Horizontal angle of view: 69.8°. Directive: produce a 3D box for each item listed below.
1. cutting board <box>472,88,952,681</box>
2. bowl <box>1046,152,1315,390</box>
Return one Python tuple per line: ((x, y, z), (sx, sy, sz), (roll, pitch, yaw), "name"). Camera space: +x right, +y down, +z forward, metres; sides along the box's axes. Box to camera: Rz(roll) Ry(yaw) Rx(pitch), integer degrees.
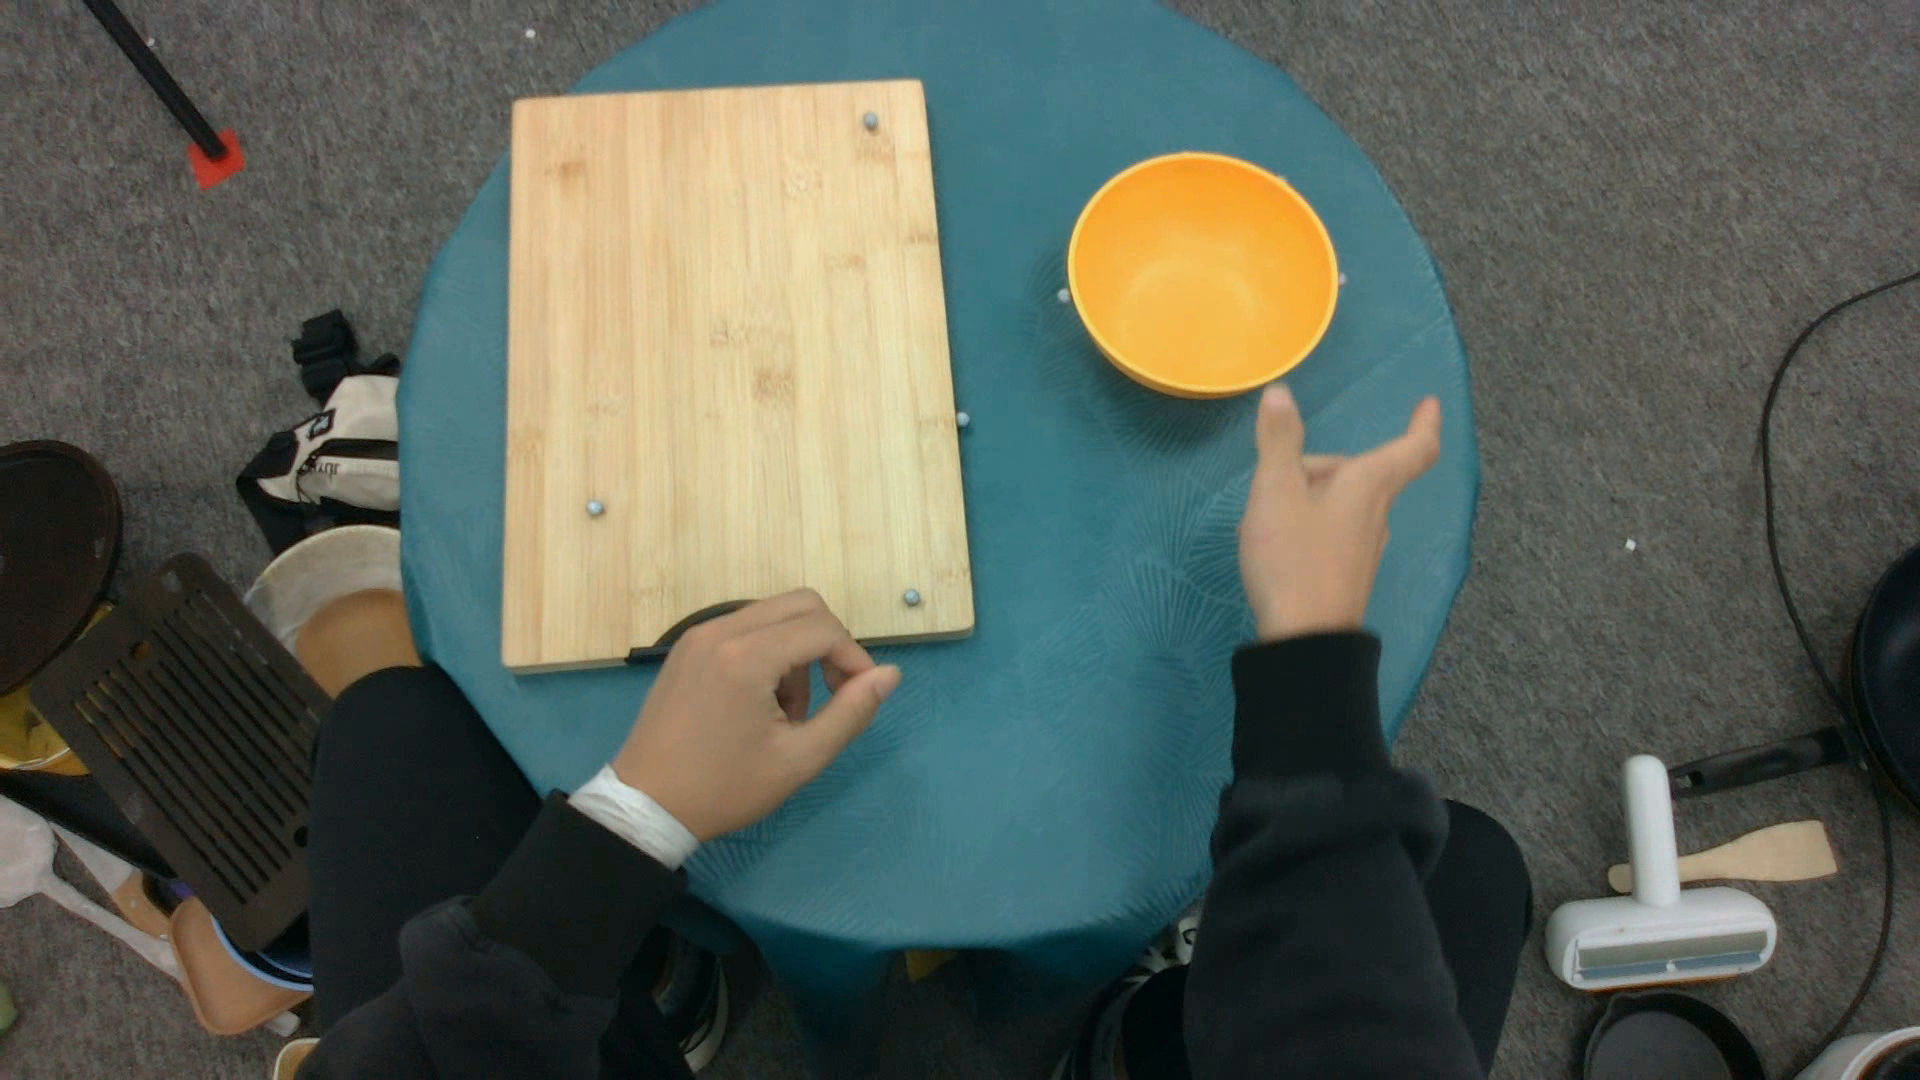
((-0.140, -0.101, 0.763), (0.251, 0.023, 0.349), (-5, 70, -5), "cutting board")
((0.119, -0.140, 0.769), (0.145, 0.060, 0.146), (0, 71, 0), "bowl")
